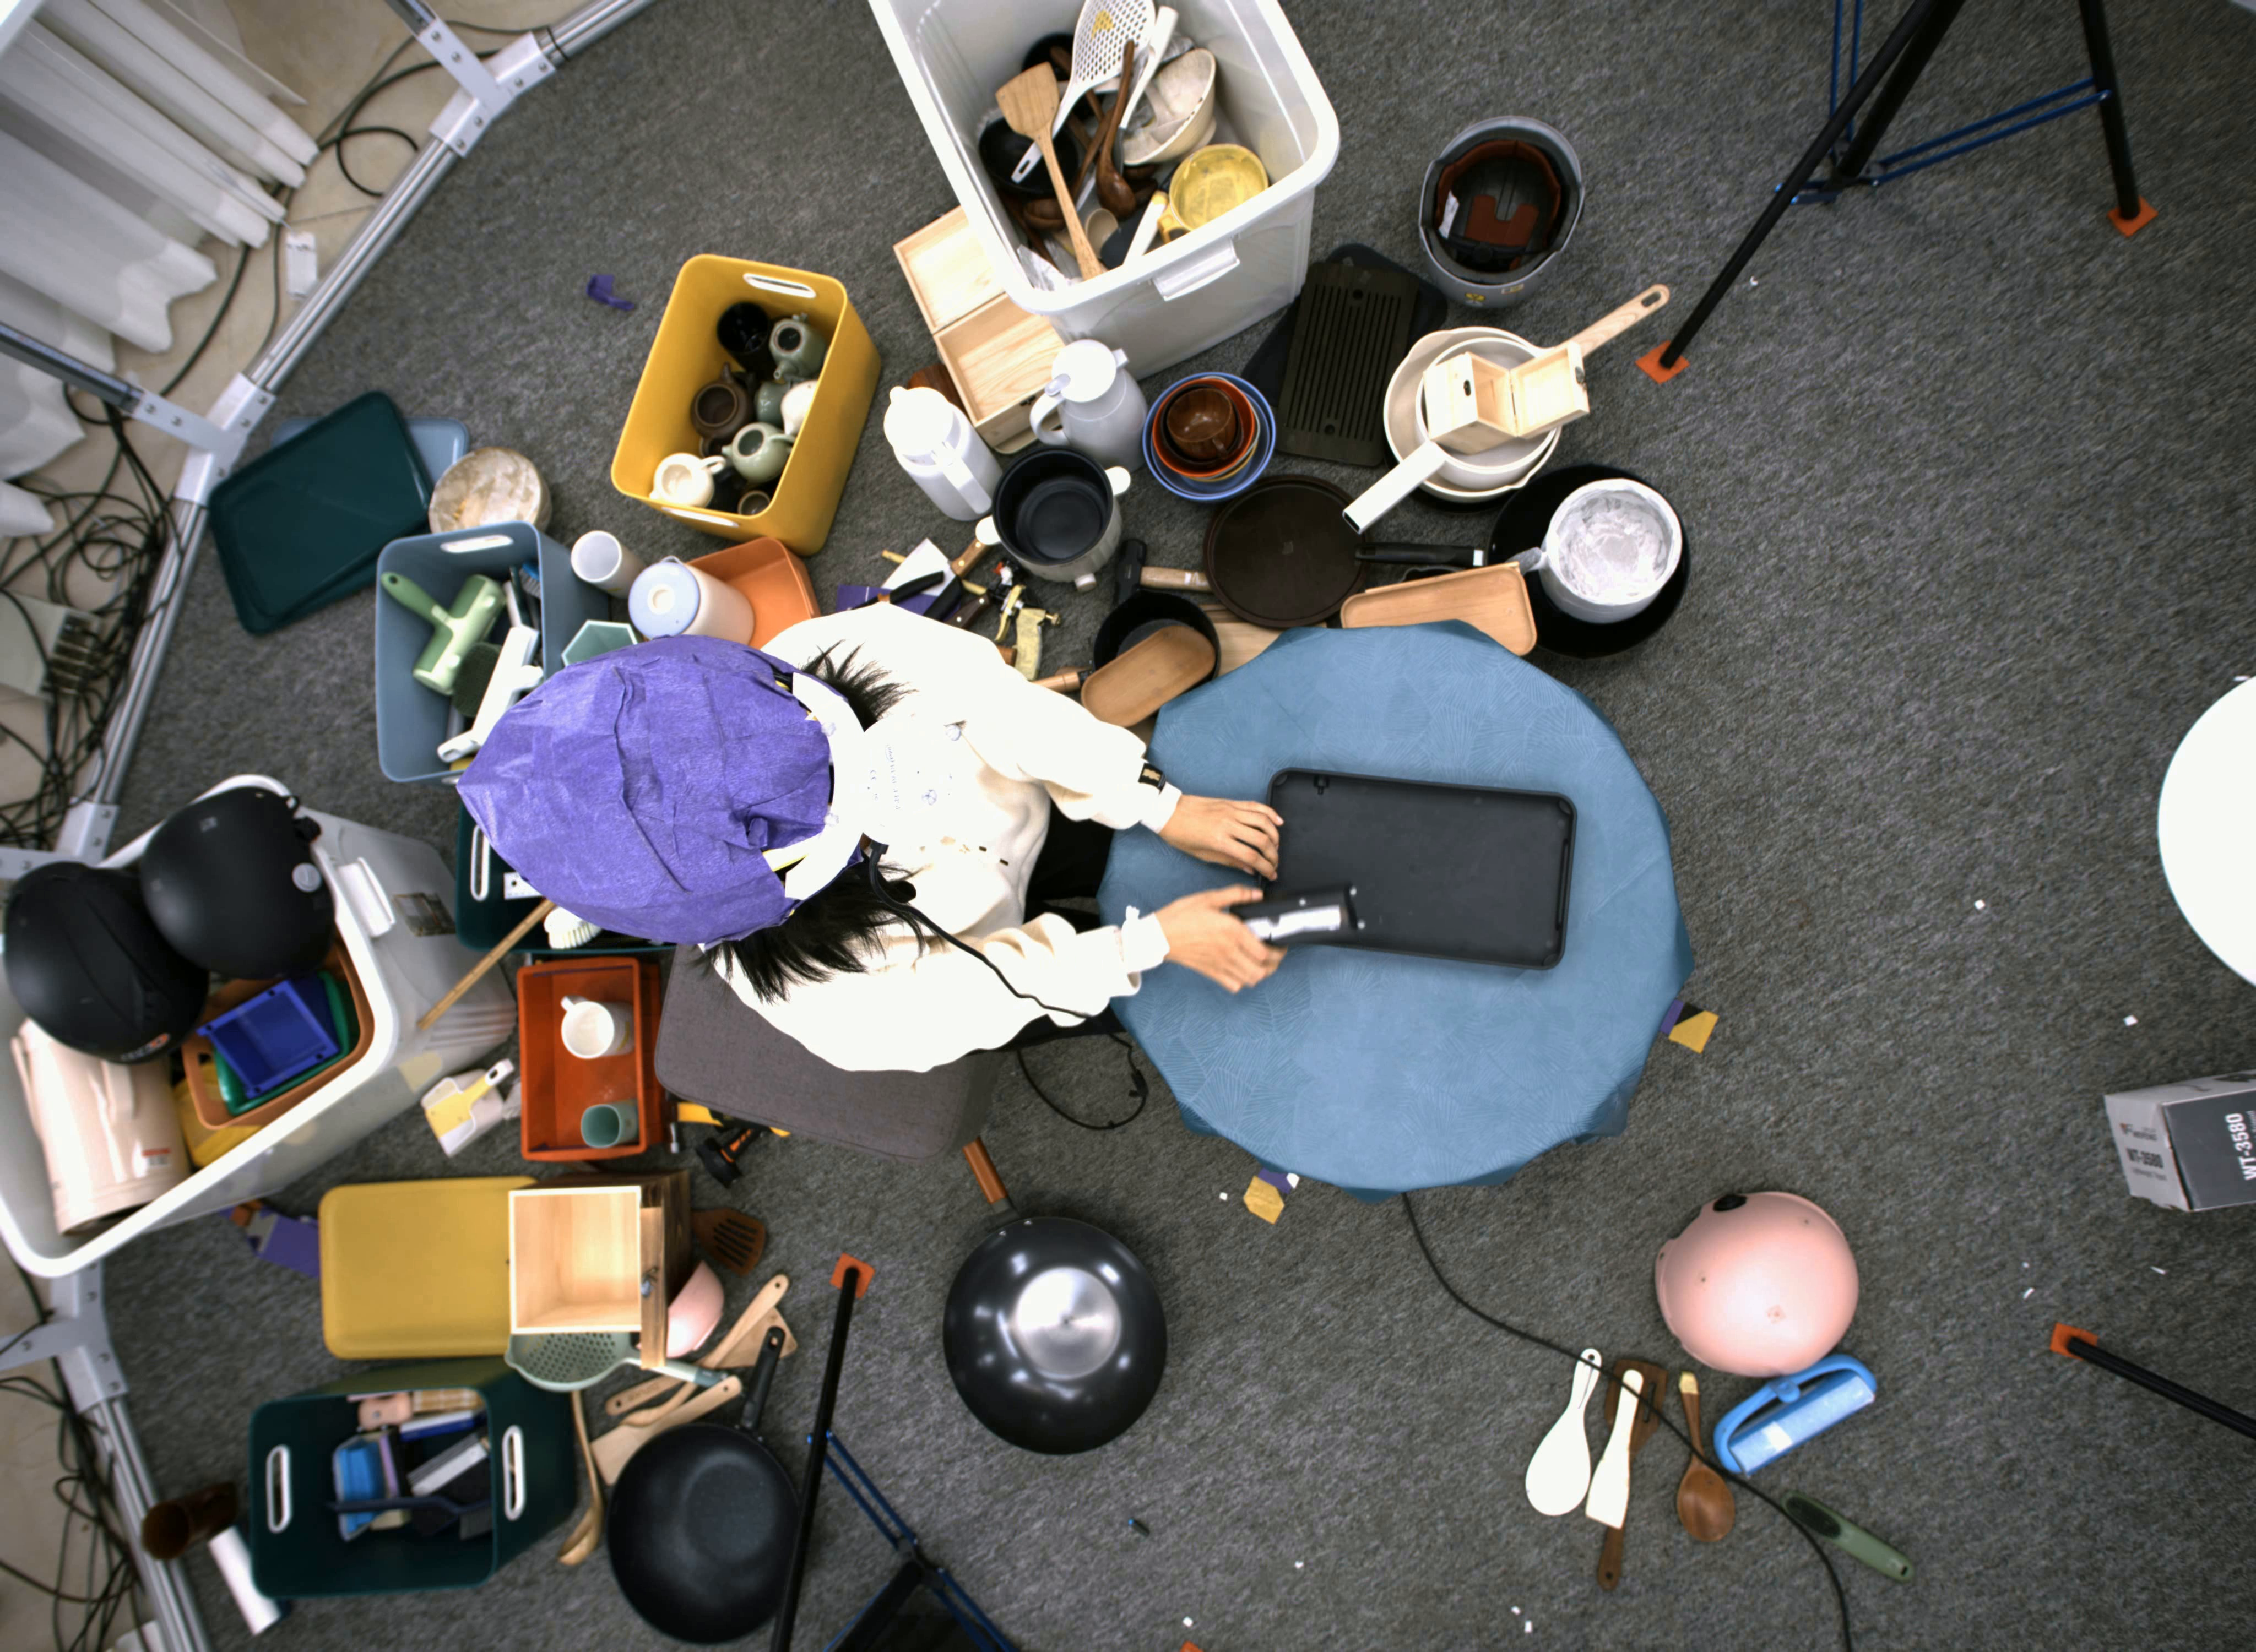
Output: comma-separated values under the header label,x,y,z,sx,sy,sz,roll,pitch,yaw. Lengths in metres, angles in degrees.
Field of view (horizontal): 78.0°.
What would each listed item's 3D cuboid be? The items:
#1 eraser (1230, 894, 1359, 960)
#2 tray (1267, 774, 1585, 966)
label,x,y,z,sx,sy,sz,roll,pitch,yaw
eraser,0.167,0.100,1.390,0.127,0.030,0.053,-9,95,25
tray,0.307,0.044,1.436,0.319,0.037,0.183,3,87,10
